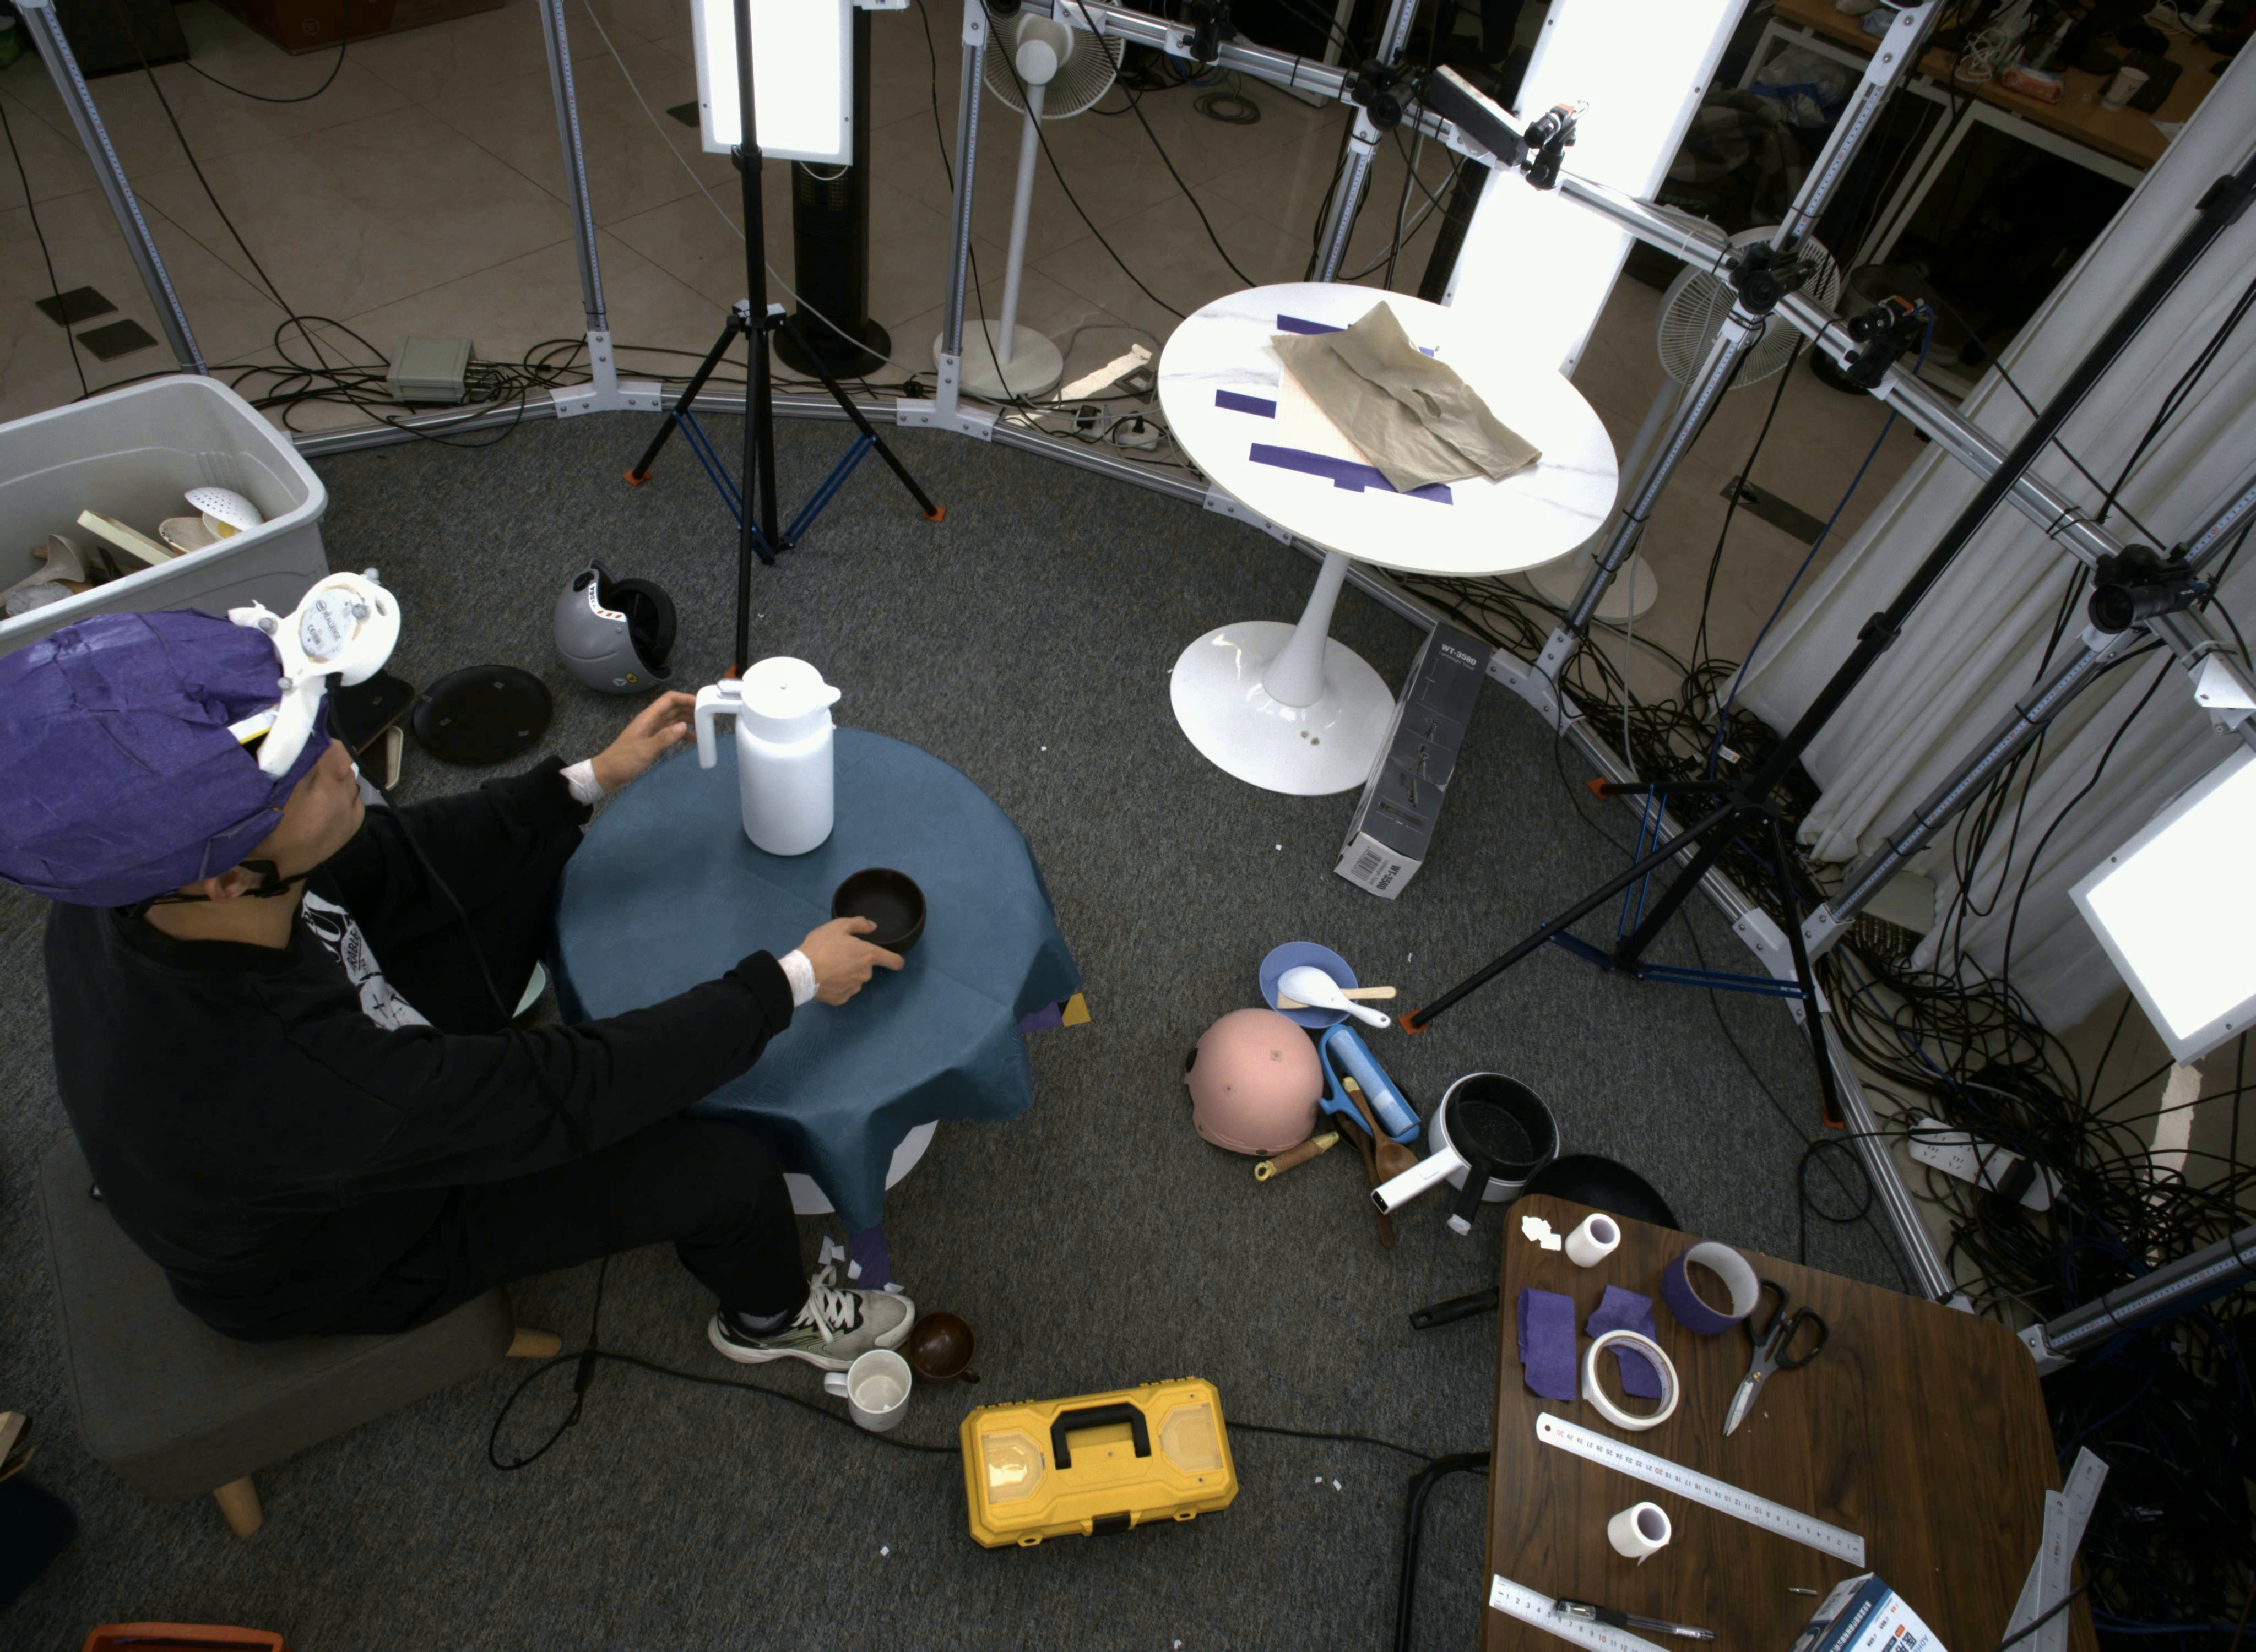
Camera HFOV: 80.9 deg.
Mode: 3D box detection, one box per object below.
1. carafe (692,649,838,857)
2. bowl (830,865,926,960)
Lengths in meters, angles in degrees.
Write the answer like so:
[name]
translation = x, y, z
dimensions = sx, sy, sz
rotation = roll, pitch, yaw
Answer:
[carafe]
translation = -0.446, -0.086, 1.607
dimensions = 0.173, 0.274, 0.121
rotation = -1, 54, -13
[bowl]
translation = -0.311, 0.114, 1.618
dimensions = 0.118, 0.071, 0.116
rotation = 7, 52, -8
